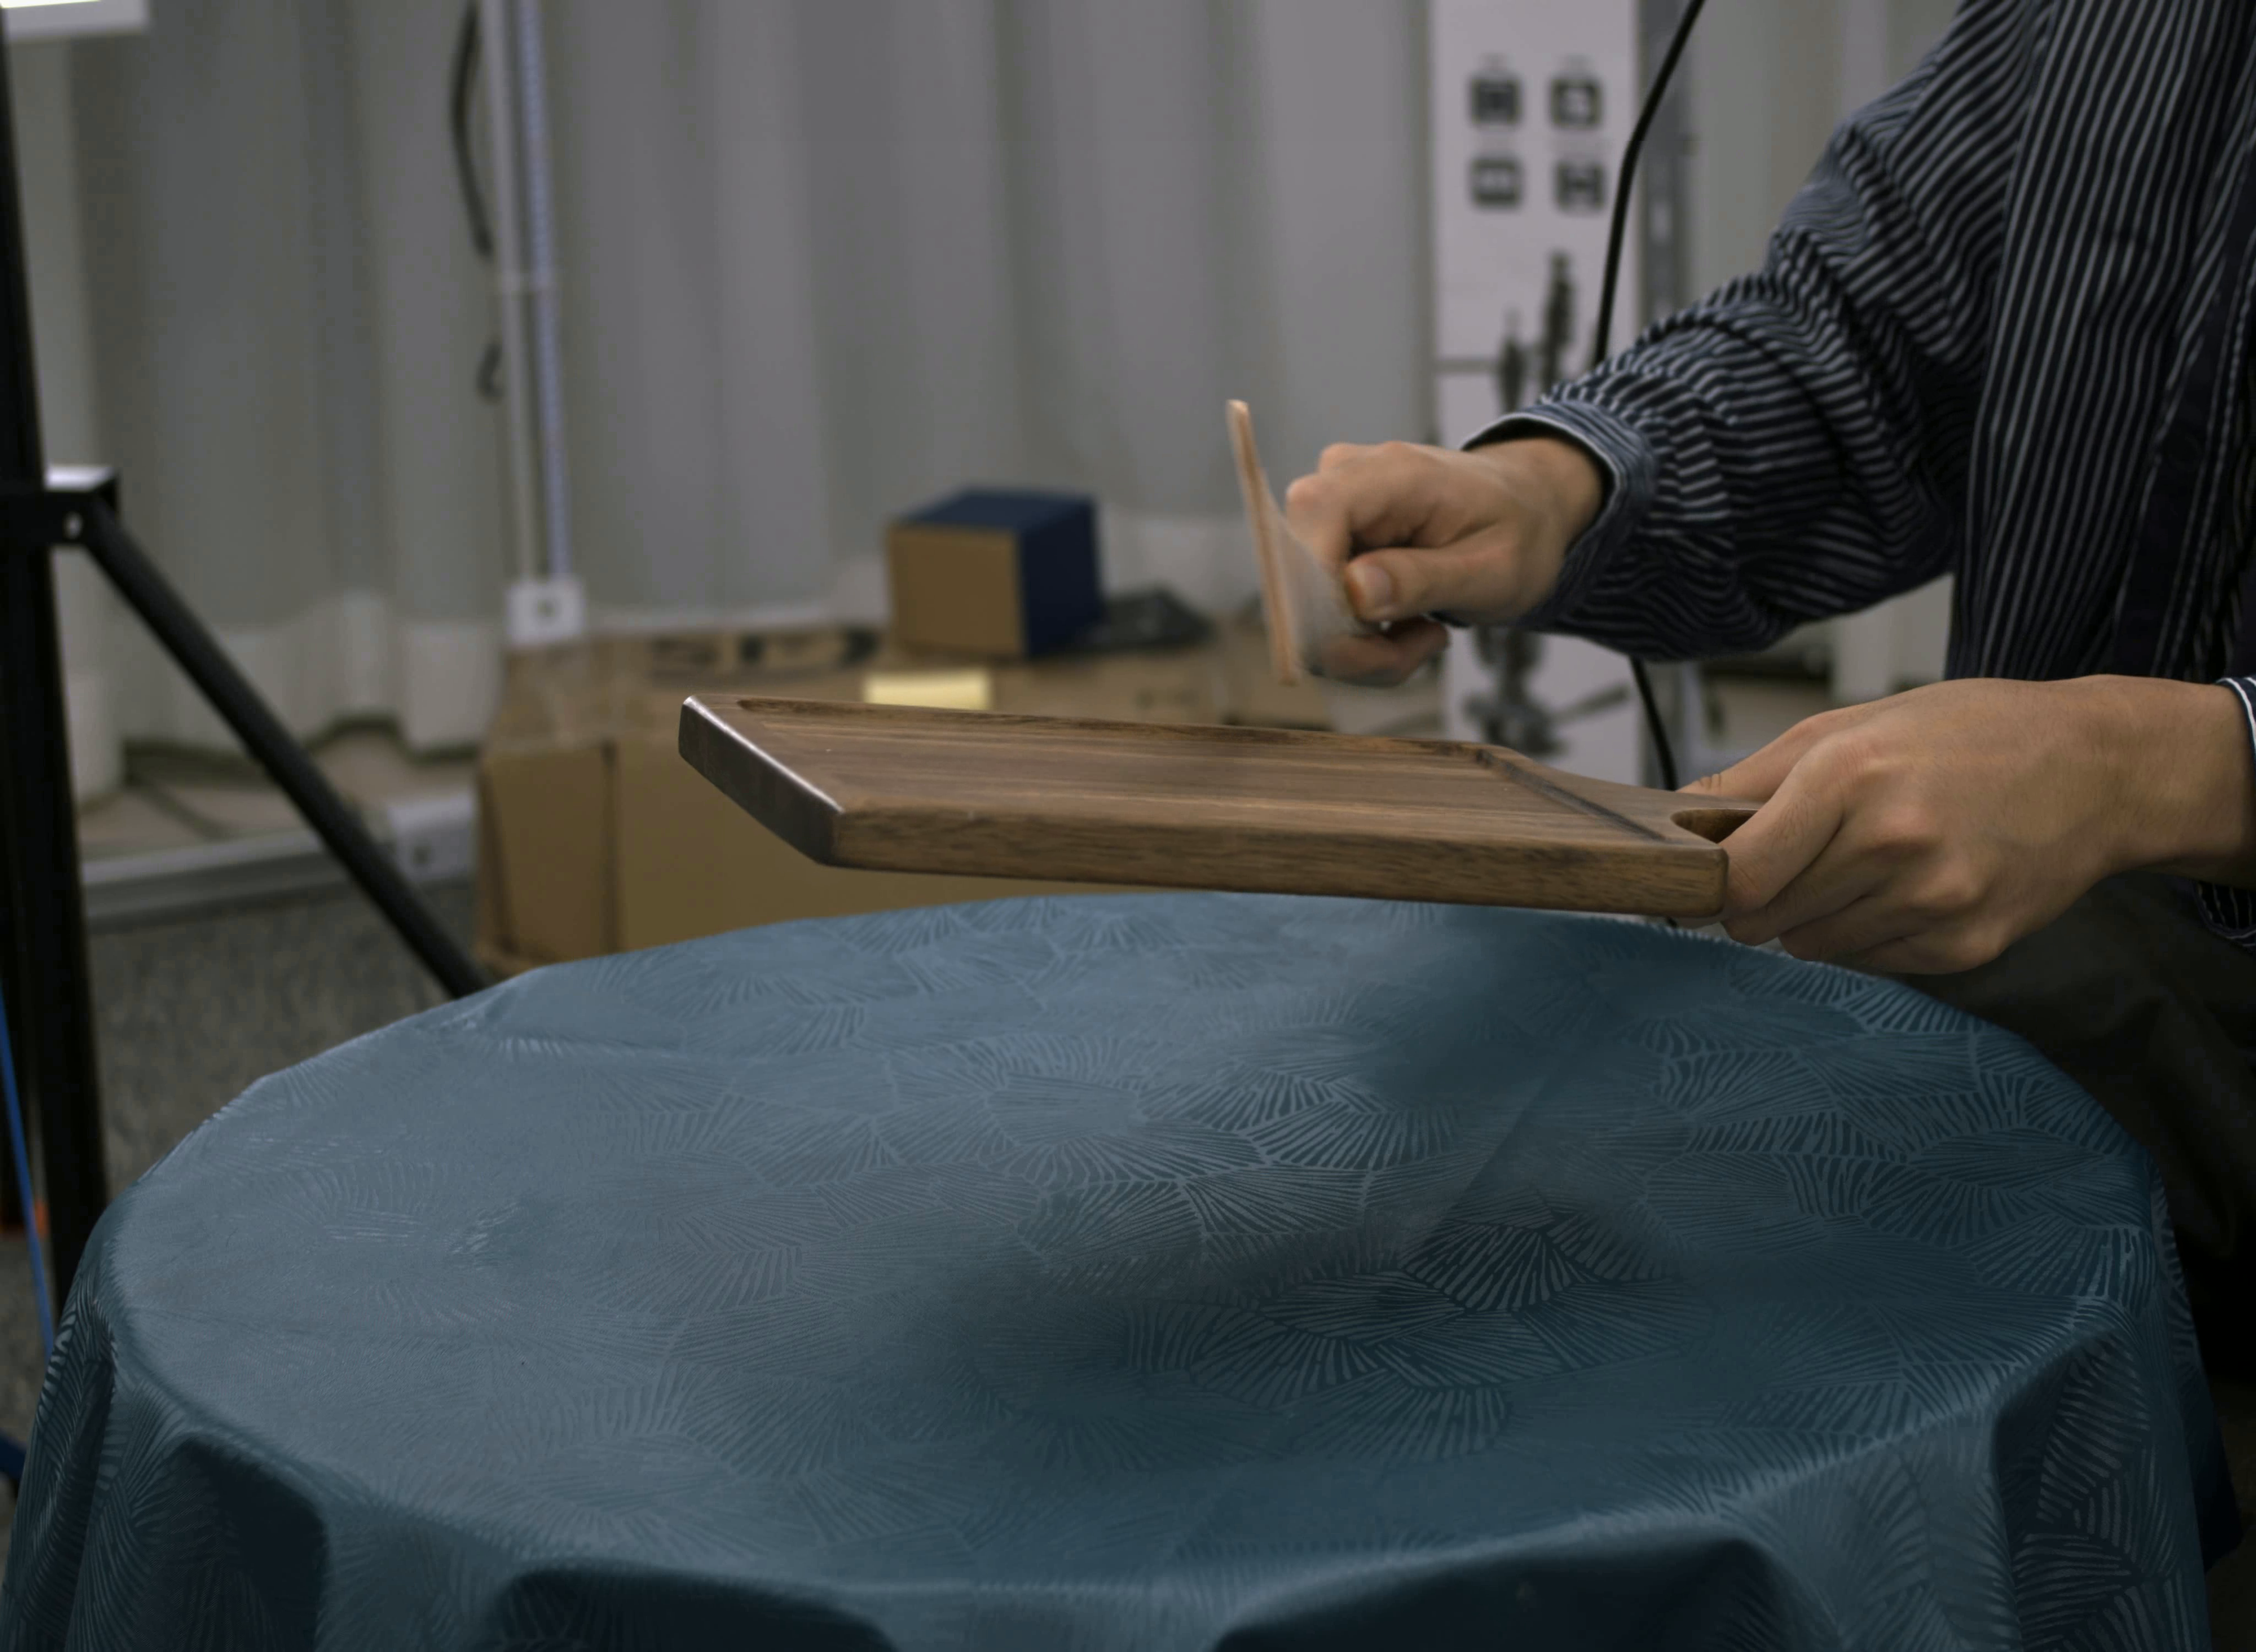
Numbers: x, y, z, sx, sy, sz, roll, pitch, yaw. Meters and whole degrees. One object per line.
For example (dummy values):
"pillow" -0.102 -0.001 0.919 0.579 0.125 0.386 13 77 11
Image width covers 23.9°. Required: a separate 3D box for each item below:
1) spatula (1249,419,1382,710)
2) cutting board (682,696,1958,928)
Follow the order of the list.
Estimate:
"spatula" 0.060 -0.071 1.595 0.016 0.080 0.325 -10 -2 9
"cutting board" 0.065 -0.002 1.459 0.347 0.023 0.203 4 8 -13
